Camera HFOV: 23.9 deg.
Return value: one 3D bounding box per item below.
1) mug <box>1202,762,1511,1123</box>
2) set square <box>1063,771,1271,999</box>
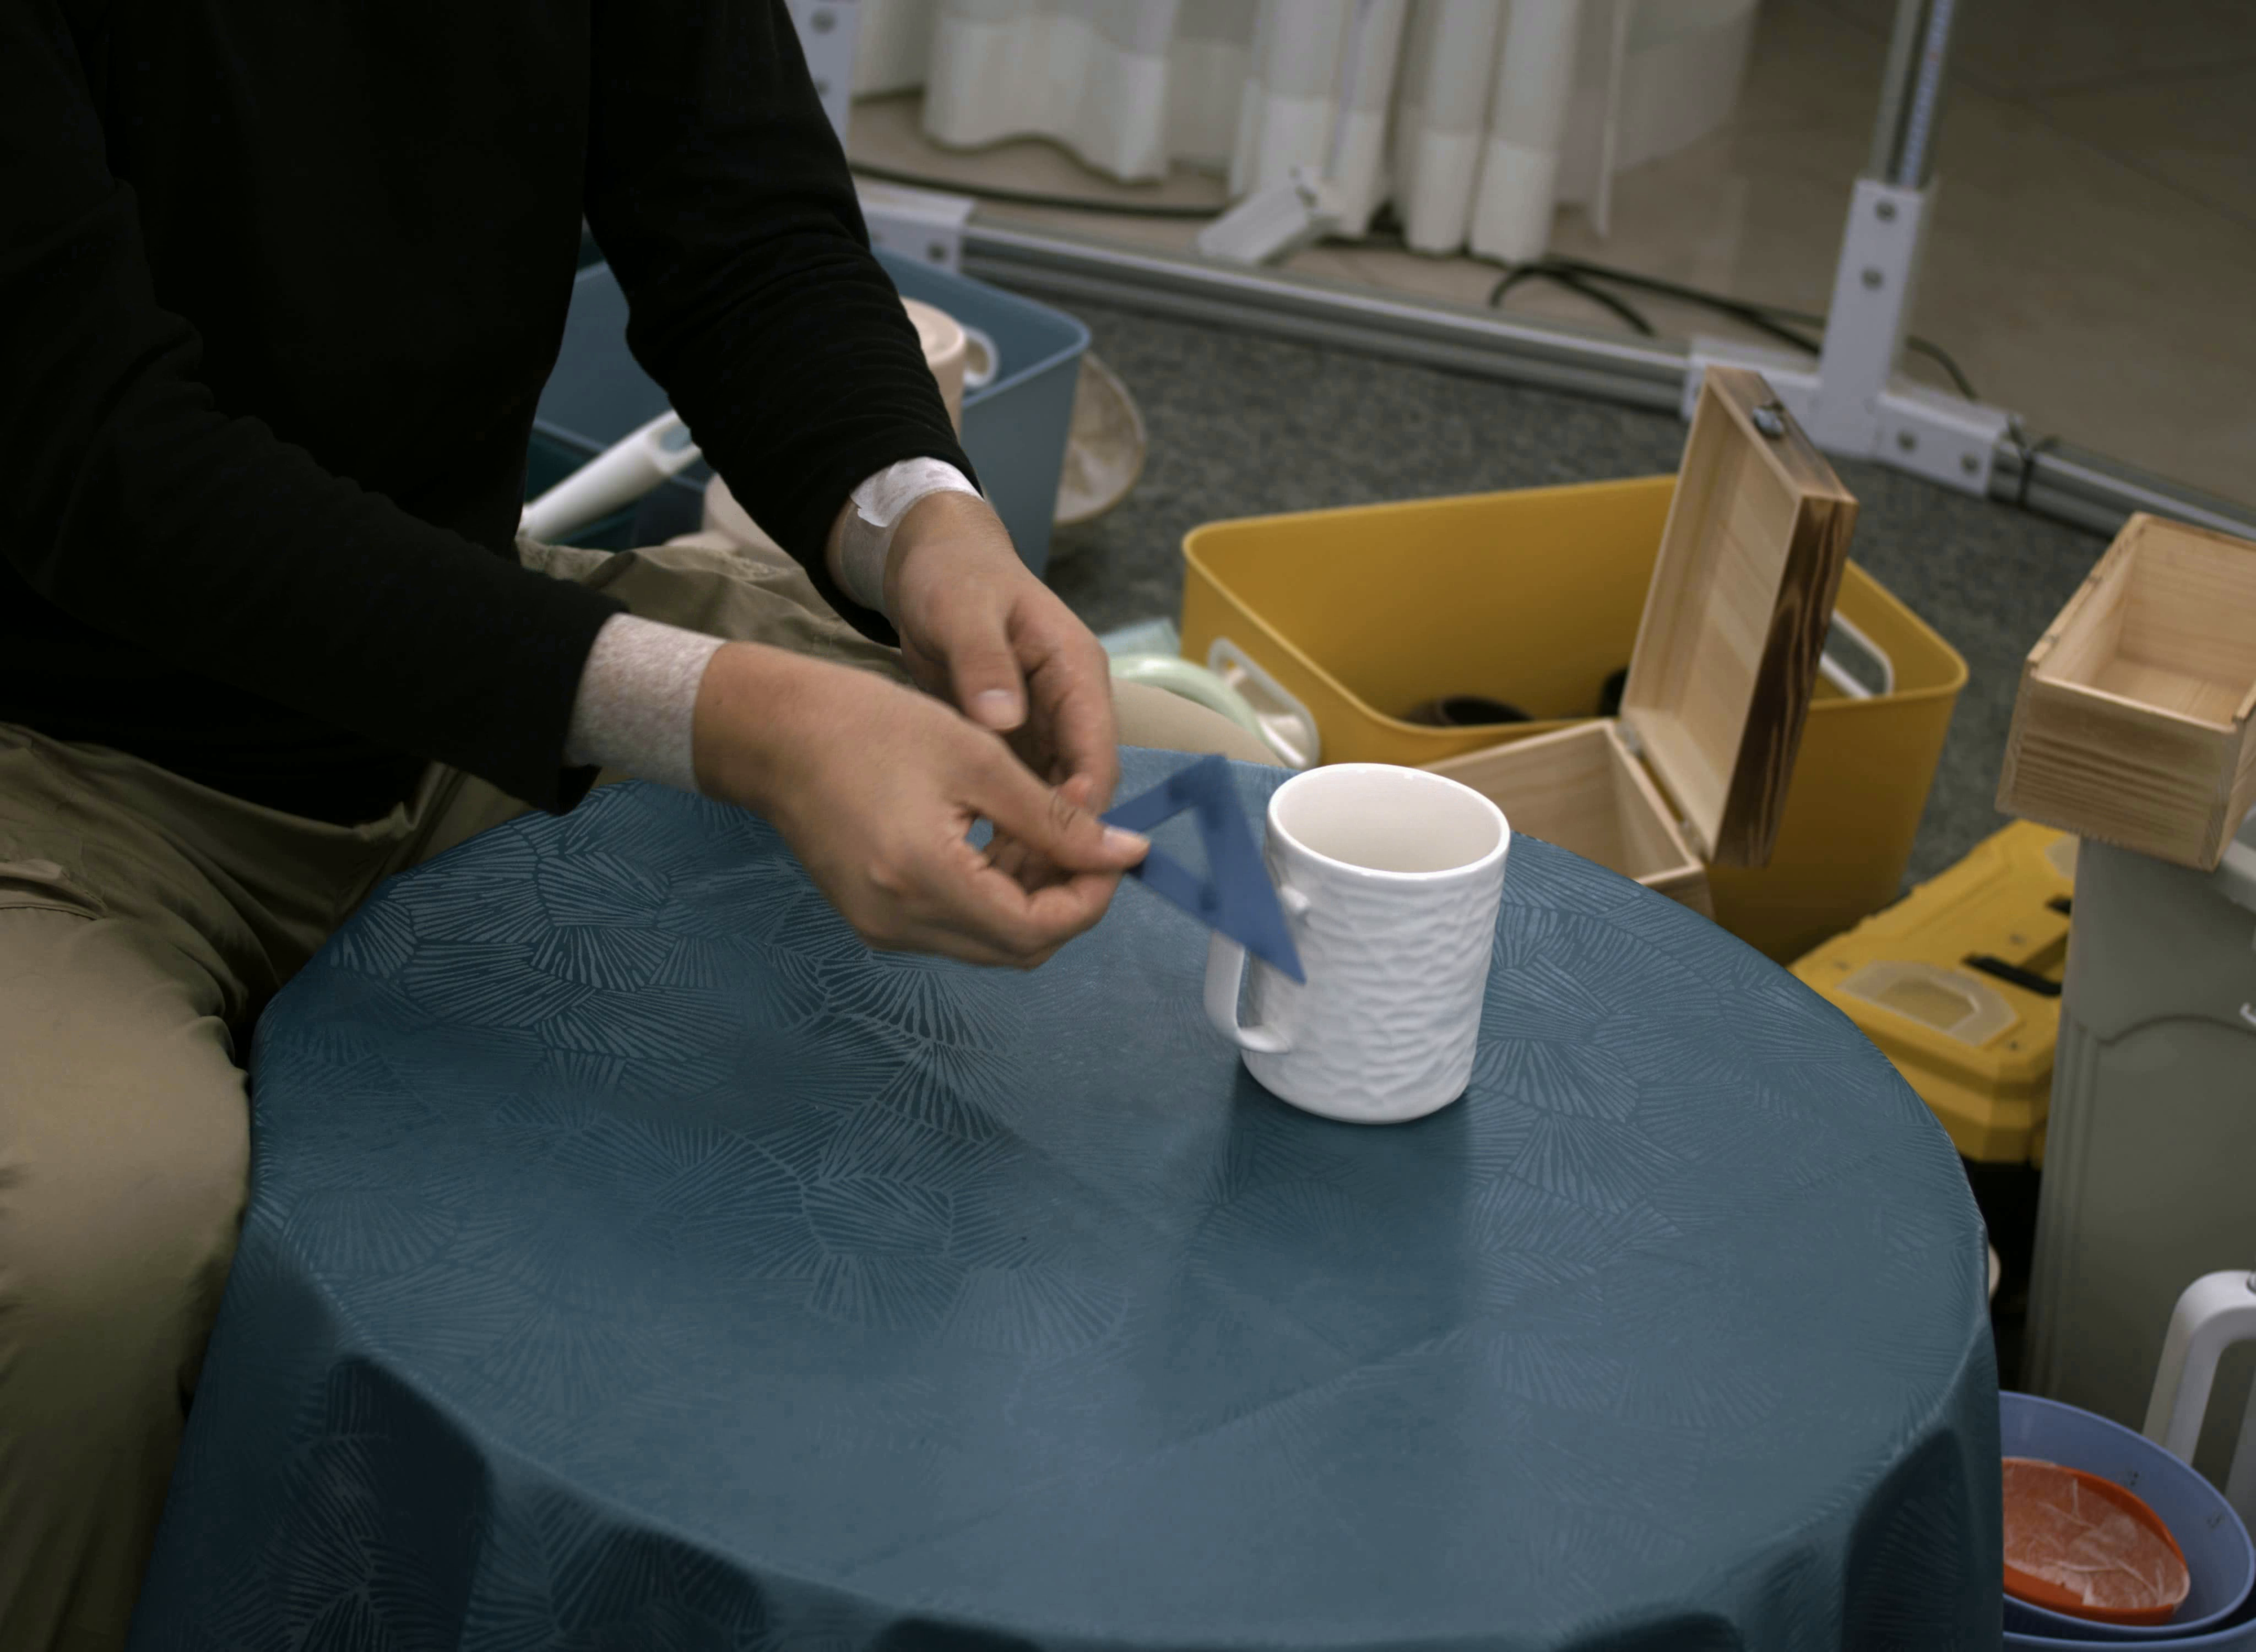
[{"bbox_3d":[0.074,0.045,1.859,0.117,0.101,0.085,-16,35,-39],"label":"mug"},{"bbox_3d":[0.012,0.019,1.756,0.061,0.006,0.133,-5,34,-4],"label":"set square"}]
